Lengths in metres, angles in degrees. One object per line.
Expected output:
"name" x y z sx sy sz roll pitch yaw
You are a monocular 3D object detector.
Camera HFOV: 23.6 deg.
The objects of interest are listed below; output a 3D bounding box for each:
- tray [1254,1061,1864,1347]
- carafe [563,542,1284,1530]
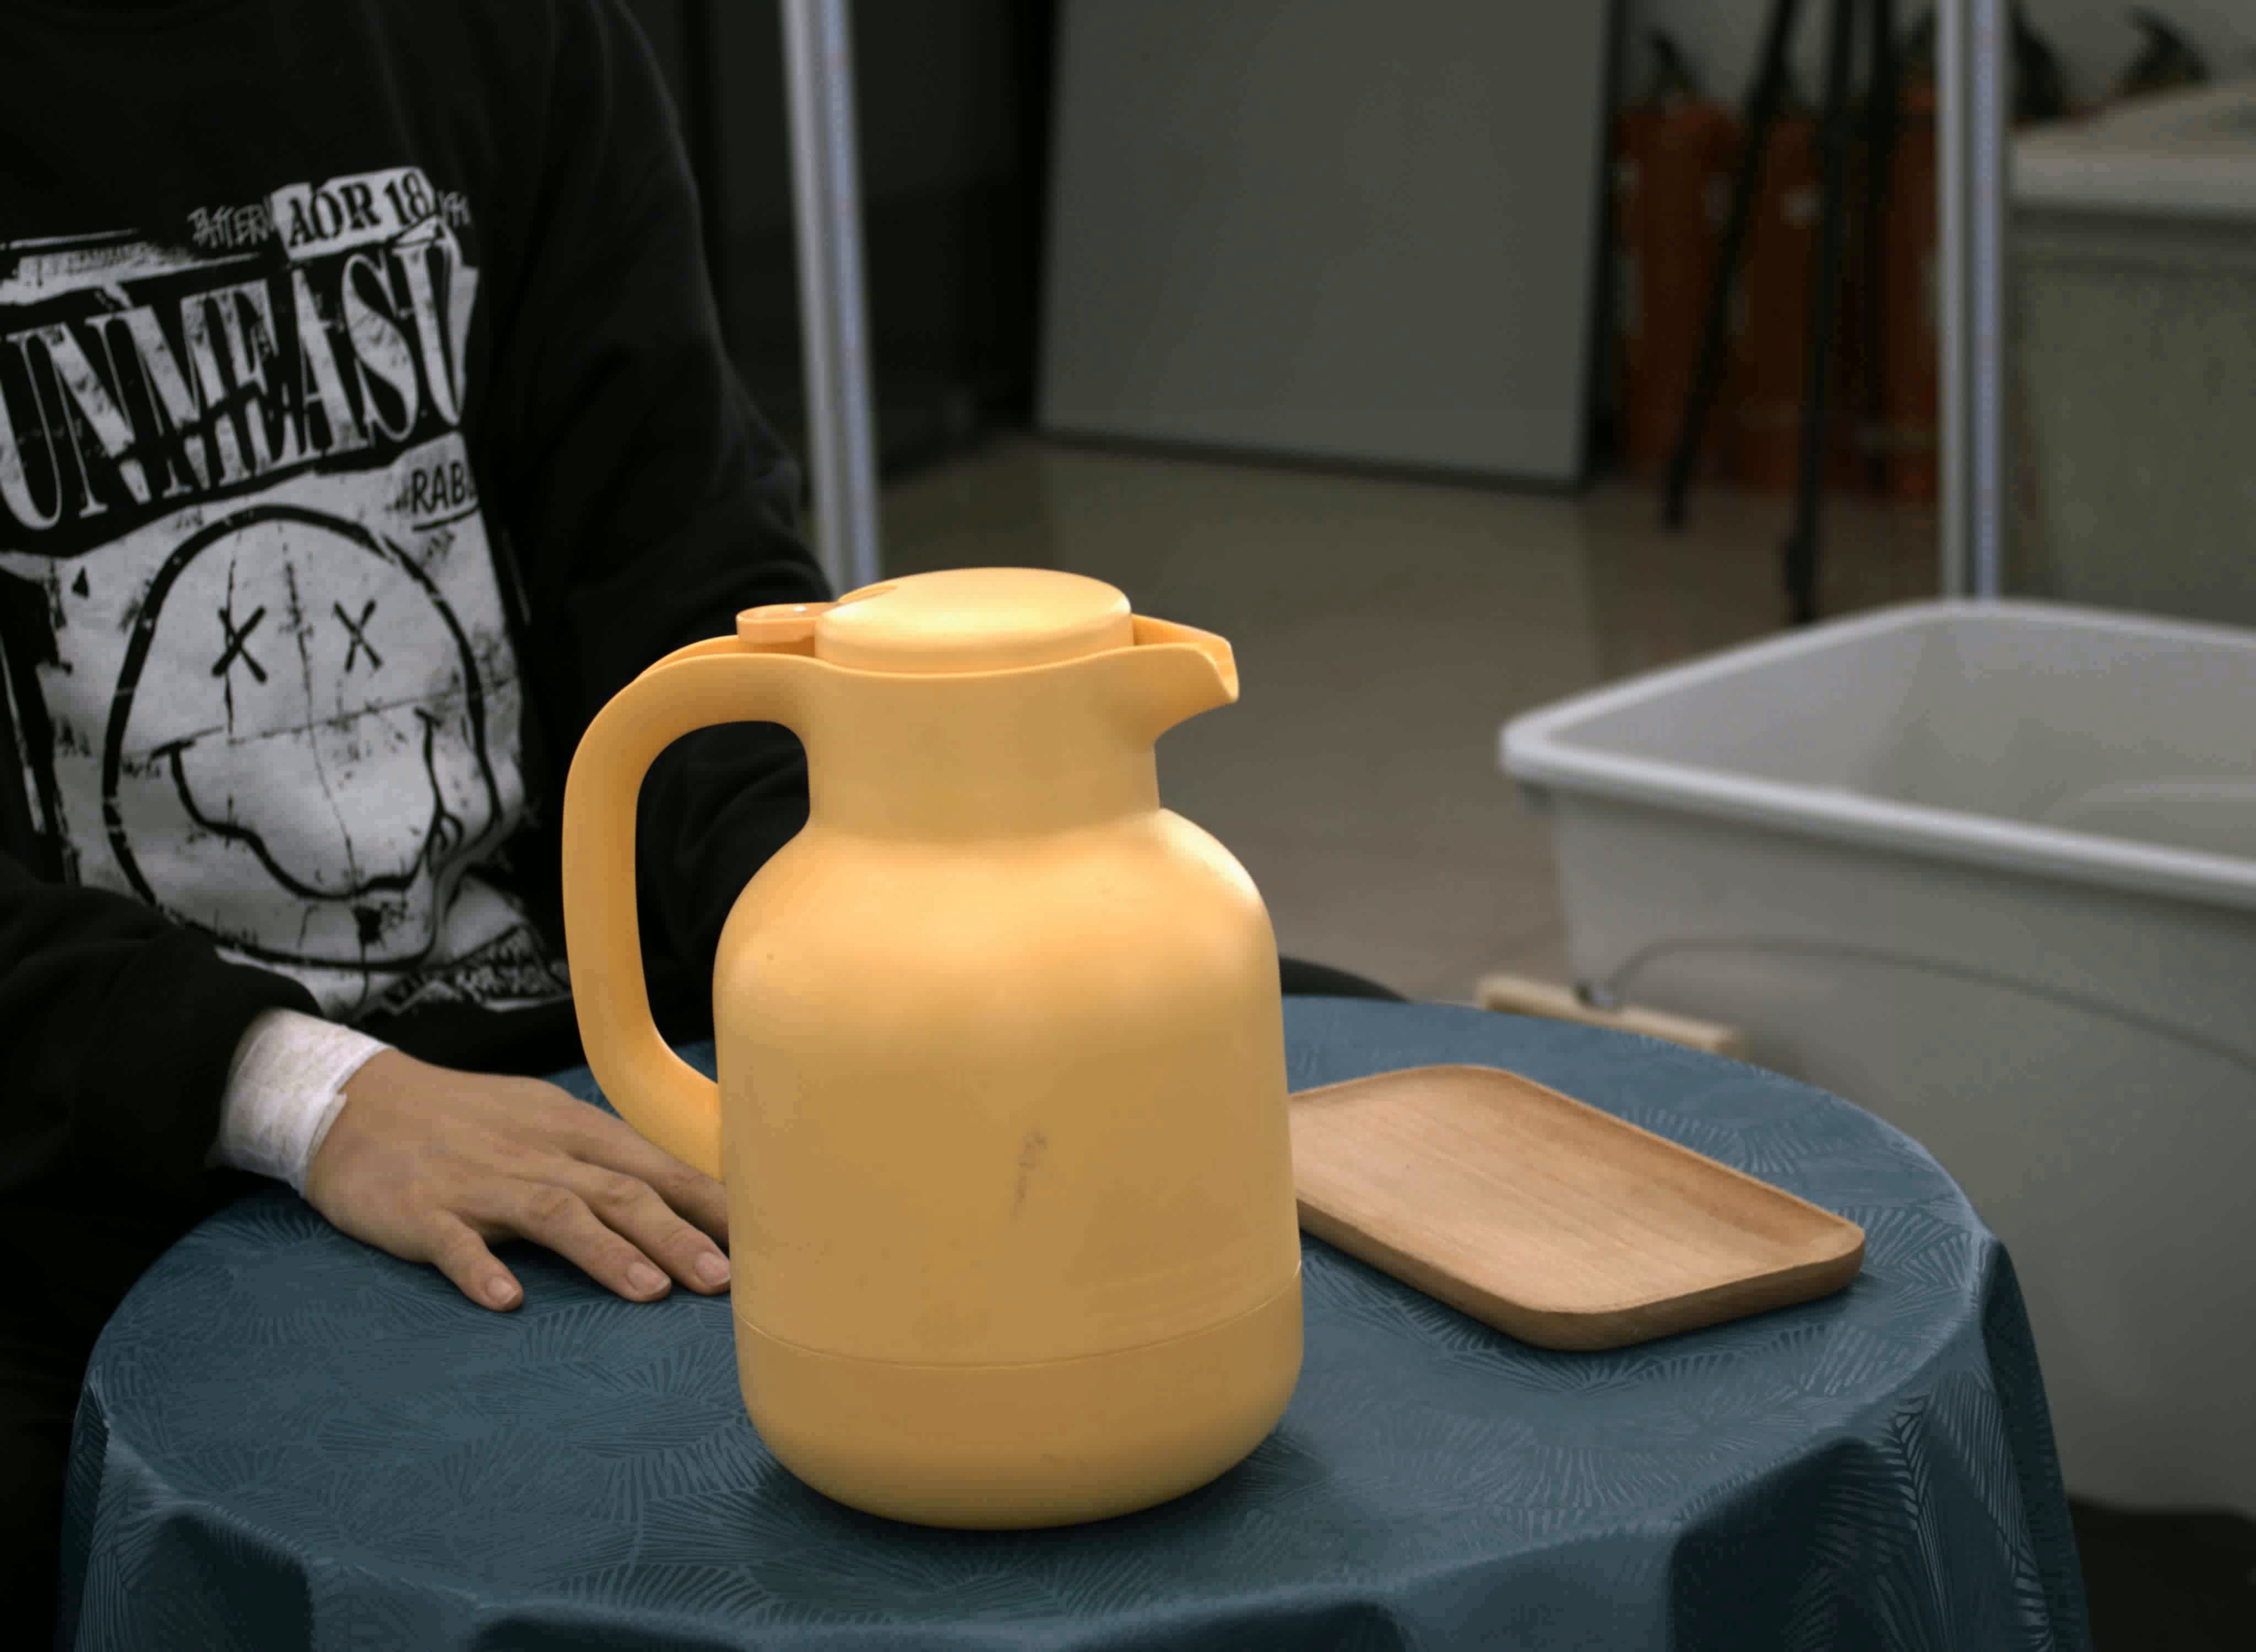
"tray" 0.122 0.118 1.713 0.127 0.023 0.253 -8 13 -25
"carafe" -0.057 0.054 1.514 0.201 0.263 0.162 1 12 14
